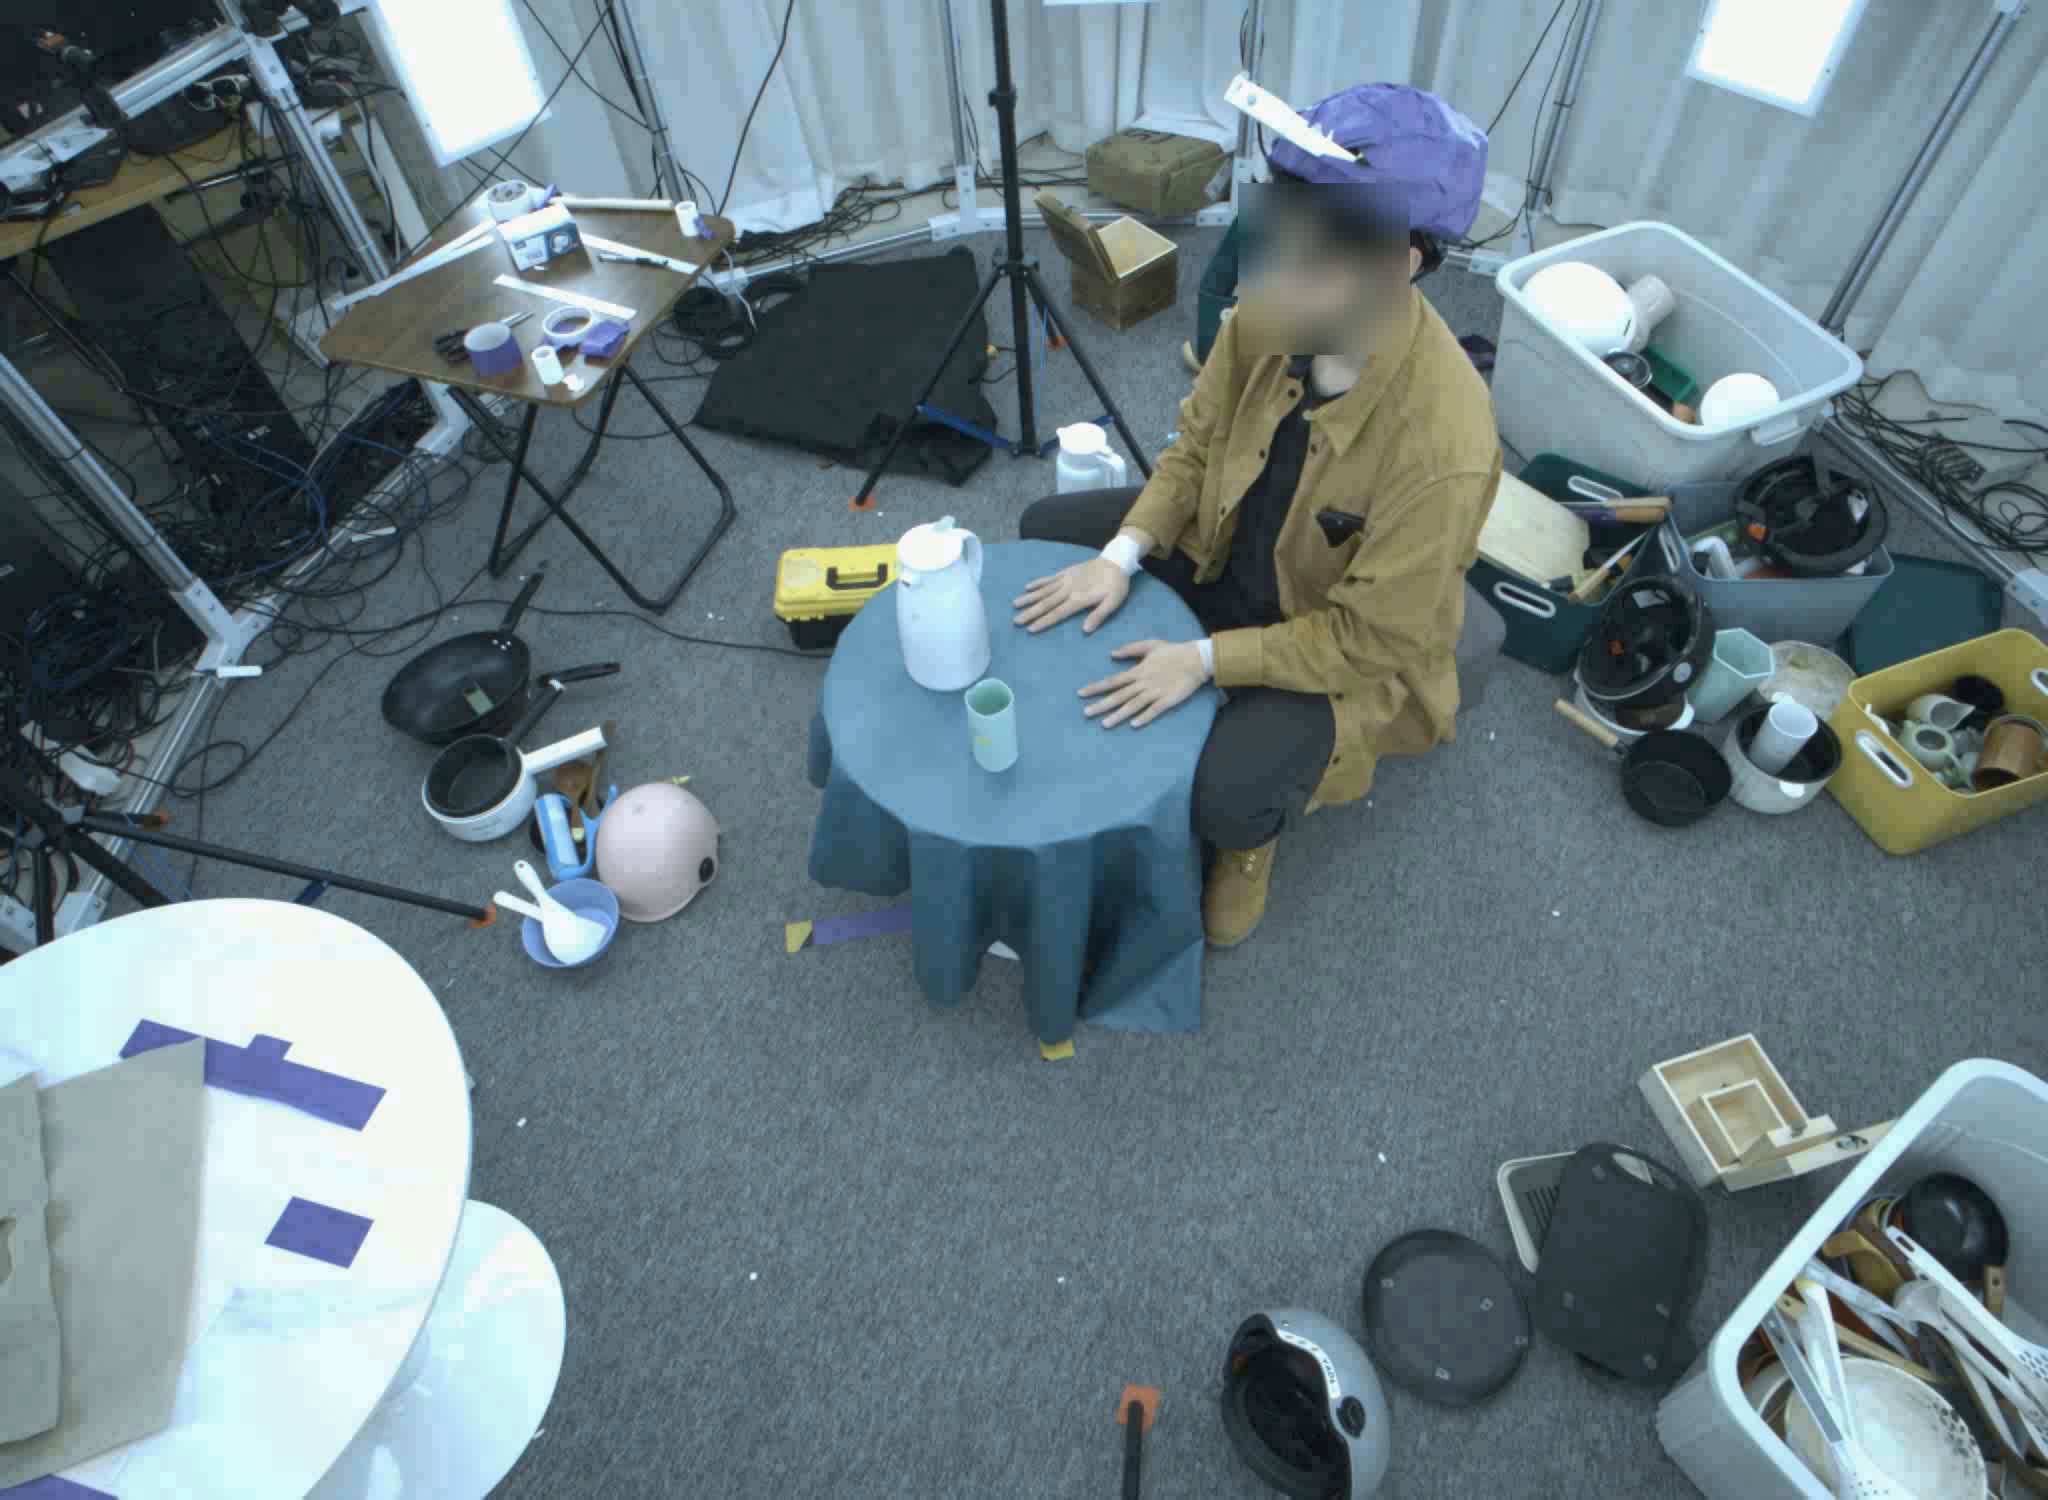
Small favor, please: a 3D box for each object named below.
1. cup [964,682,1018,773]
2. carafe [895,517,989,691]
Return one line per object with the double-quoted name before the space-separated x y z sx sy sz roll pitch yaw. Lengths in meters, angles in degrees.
"cup" -0.044 -0.031 1.730 0.066 0.134 0.066 -1 55 3
"carafe" -0.117 -0.228 1.797 0.130 0.251 0.168 24 59 20
